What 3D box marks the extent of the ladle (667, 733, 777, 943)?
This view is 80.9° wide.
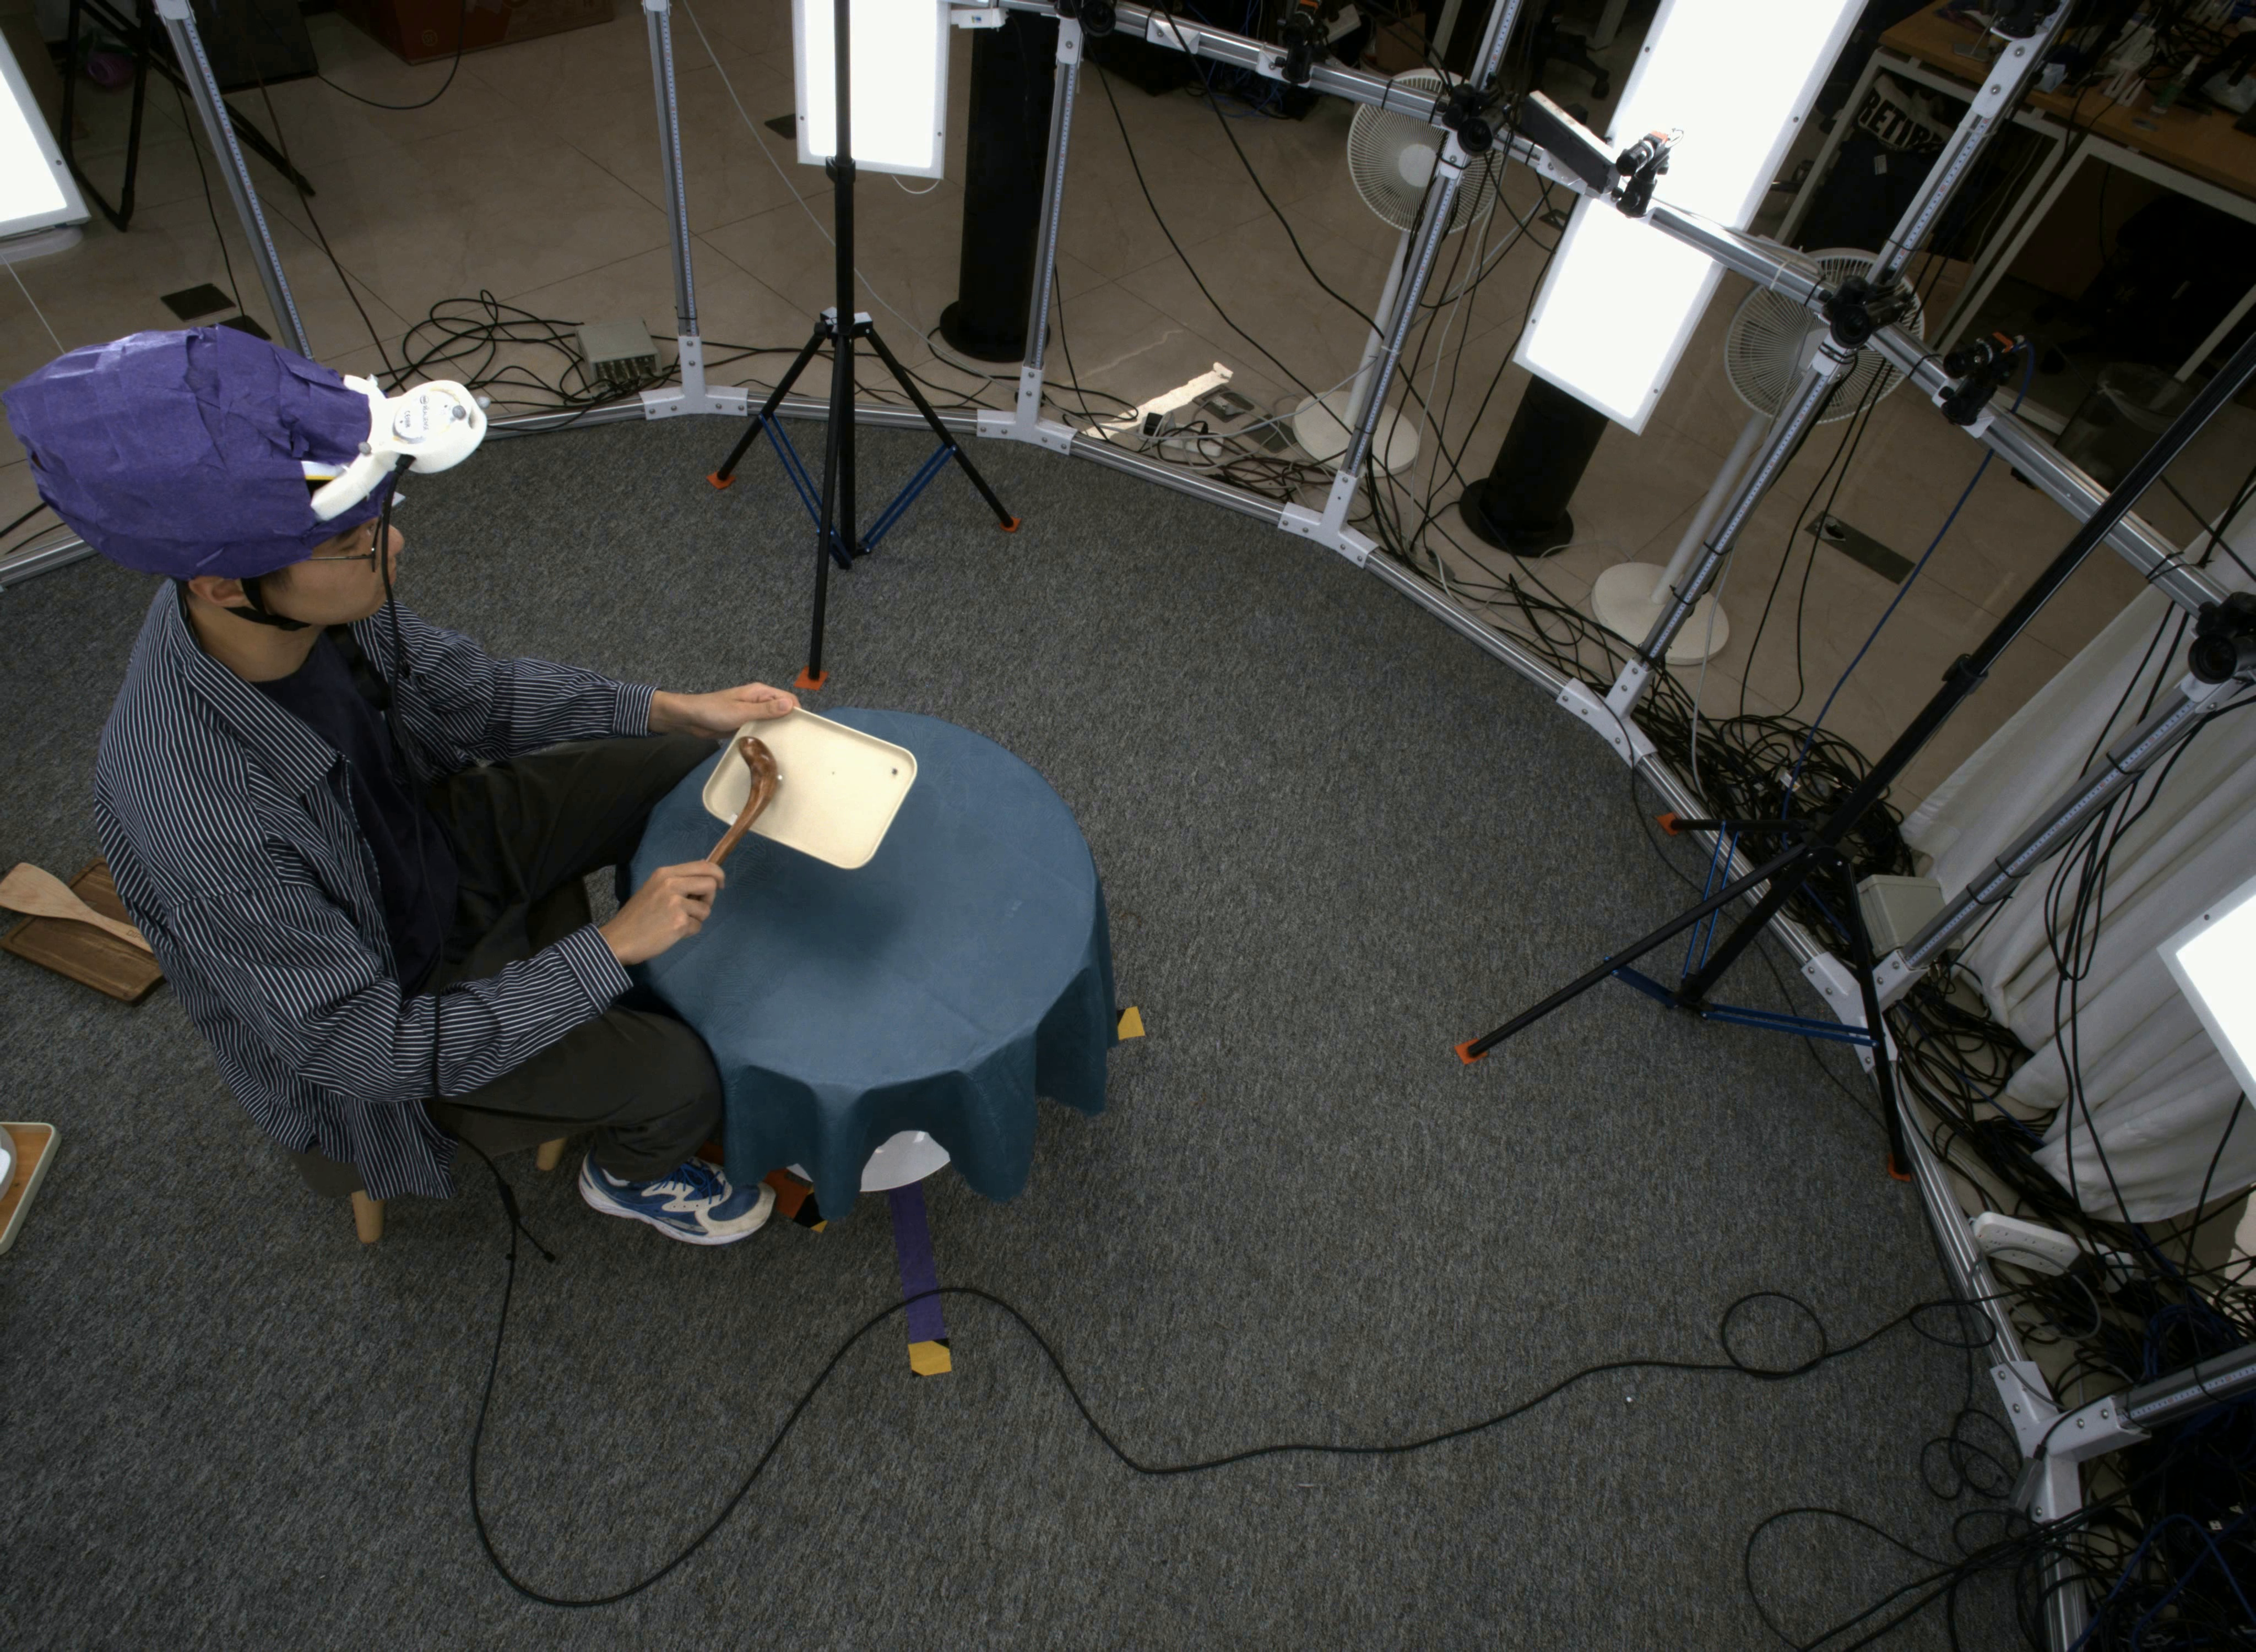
[{"bbox_3d":[-0.491,0.007,1.511,0.074,0.085,0.272,14,59,19],"label":"ladle"}]

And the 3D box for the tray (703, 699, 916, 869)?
[{"bbox_3d":[-0.390,-0.053,1.593,0.235,0.018,0.171,21,71,9],"label":"tray"}]
